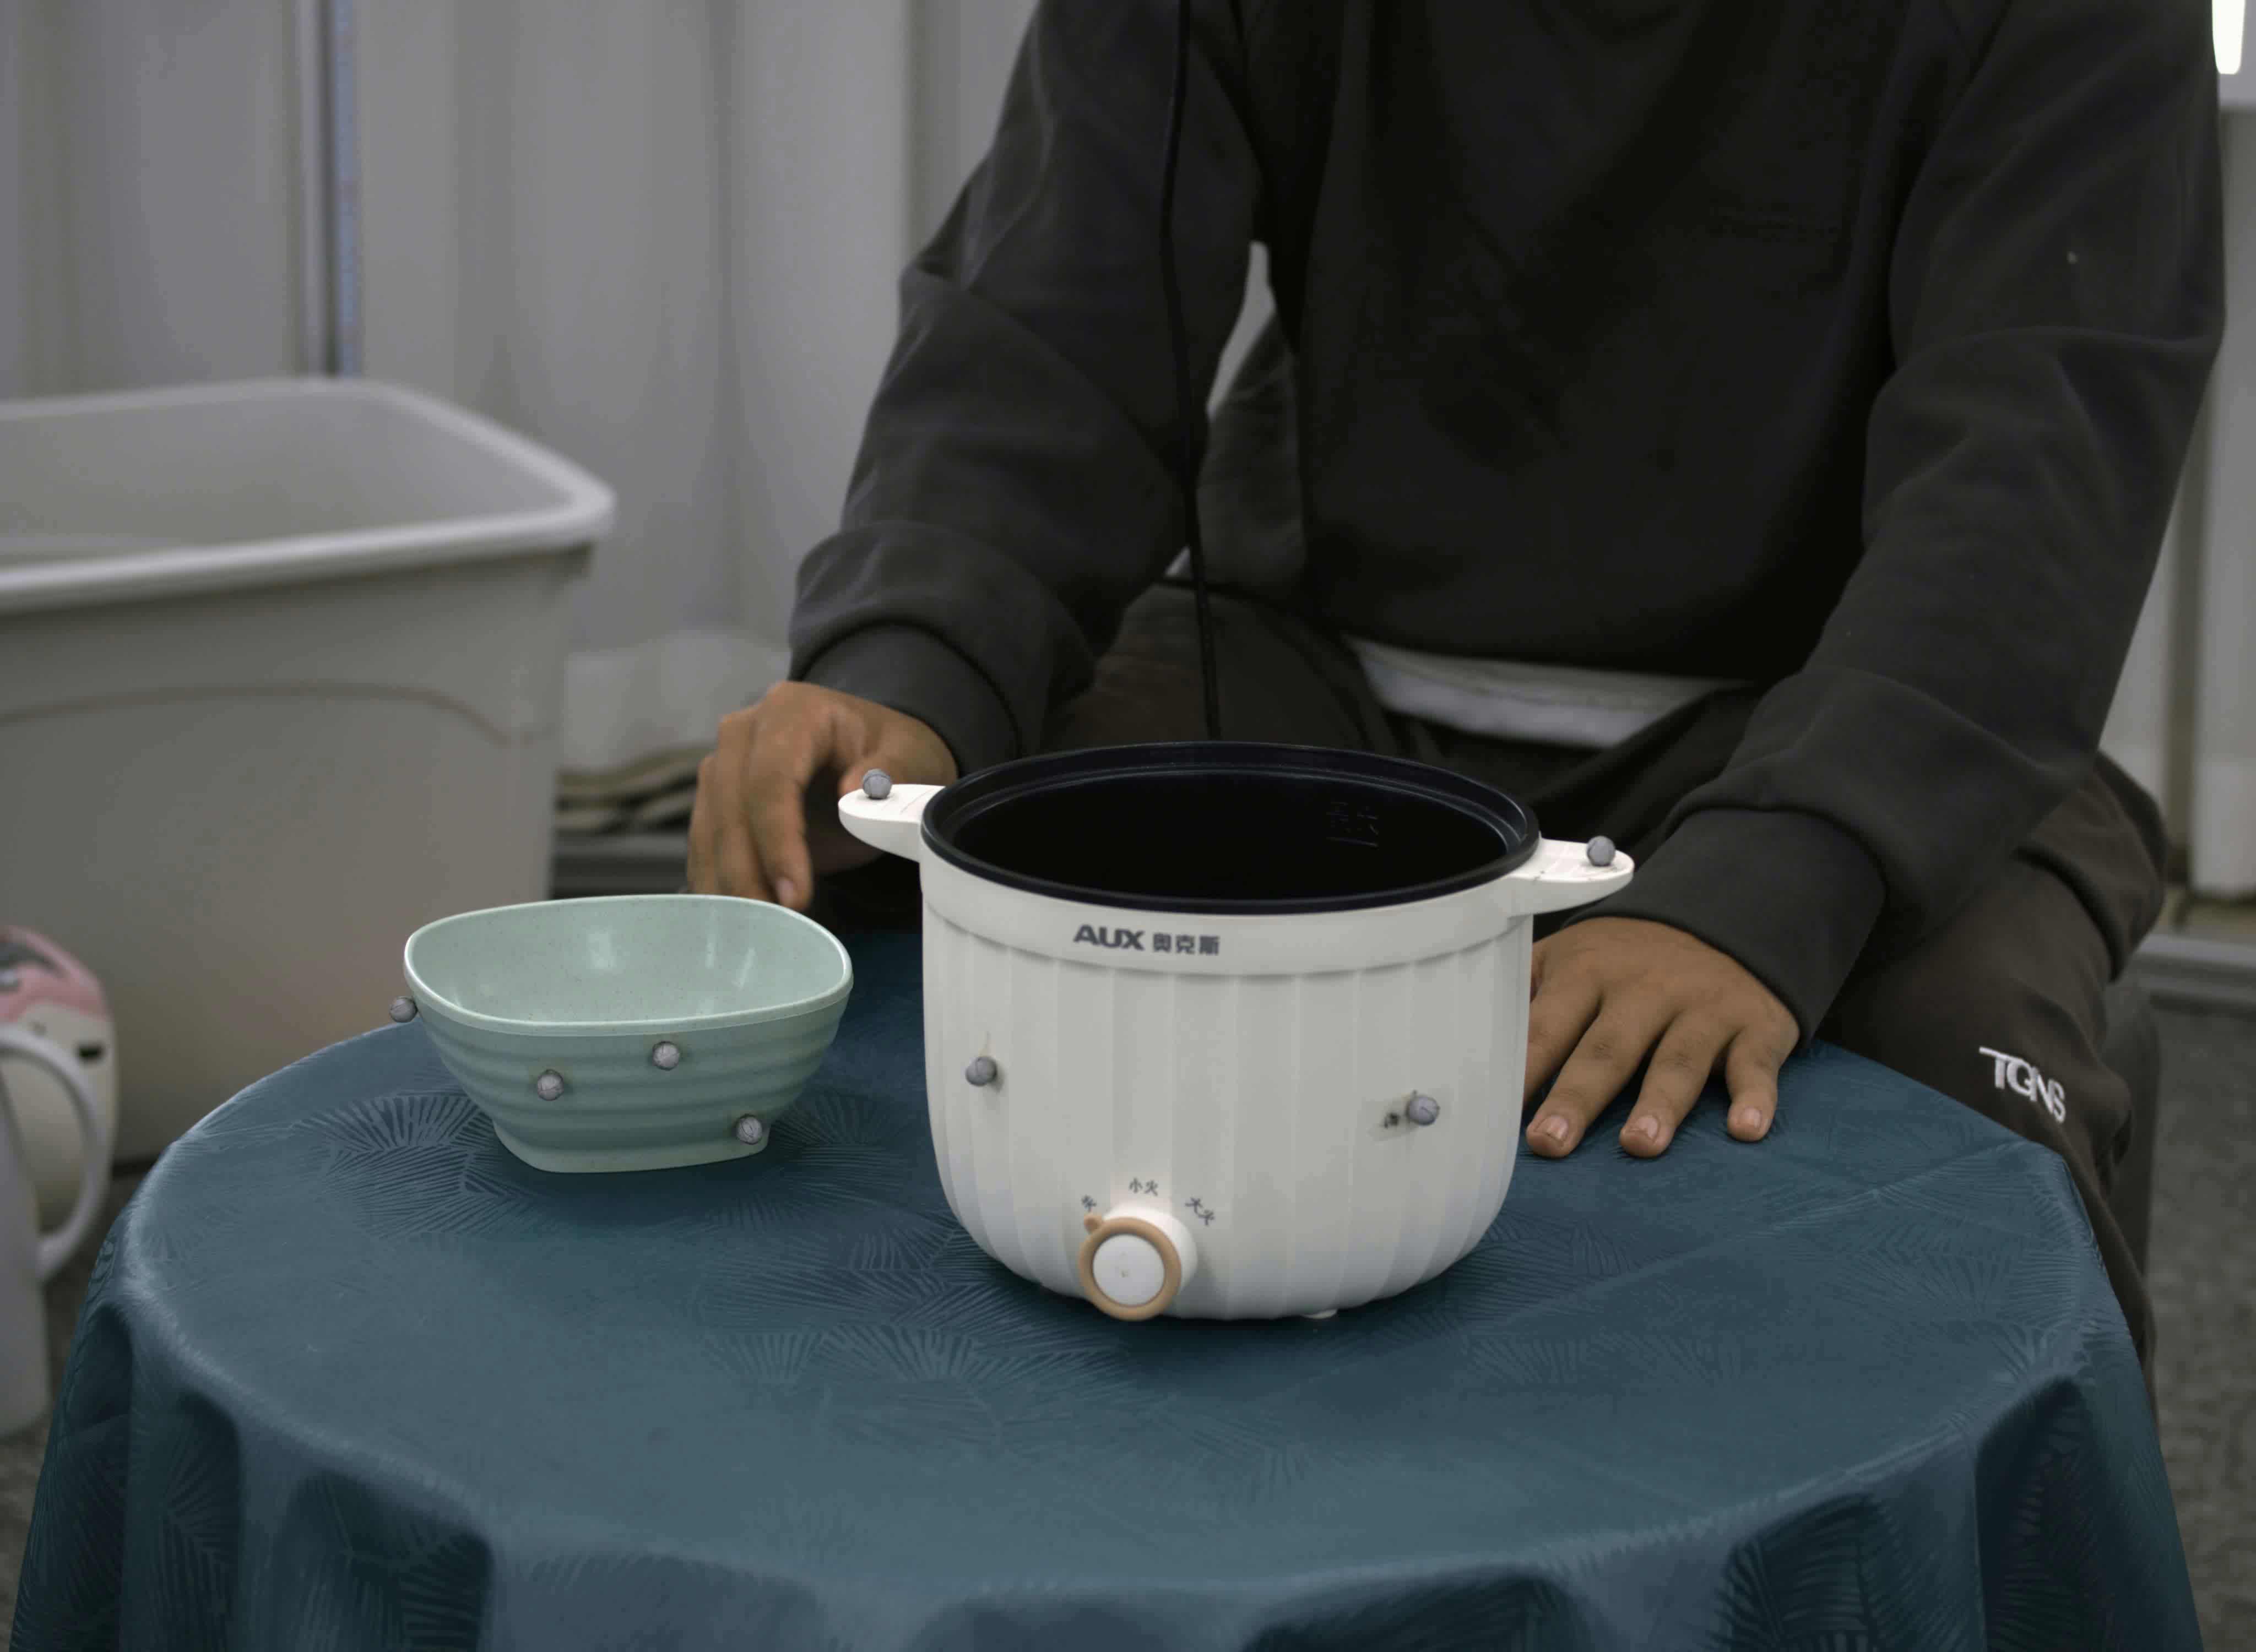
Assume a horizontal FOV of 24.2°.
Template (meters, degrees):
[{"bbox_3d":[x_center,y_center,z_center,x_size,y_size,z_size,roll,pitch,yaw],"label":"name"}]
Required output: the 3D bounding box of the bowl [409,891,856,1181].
[{"bbox_3d":[-0.156,0.070,1.669,0.151,0.059,0.150,1,17,0],"label":"bowl"}]

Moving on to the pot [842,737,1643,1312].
[{"bbox_3d":[0.031,0.061,1.549,0.238,0.143,0.190,3,13,14],"label":"pot"}]
